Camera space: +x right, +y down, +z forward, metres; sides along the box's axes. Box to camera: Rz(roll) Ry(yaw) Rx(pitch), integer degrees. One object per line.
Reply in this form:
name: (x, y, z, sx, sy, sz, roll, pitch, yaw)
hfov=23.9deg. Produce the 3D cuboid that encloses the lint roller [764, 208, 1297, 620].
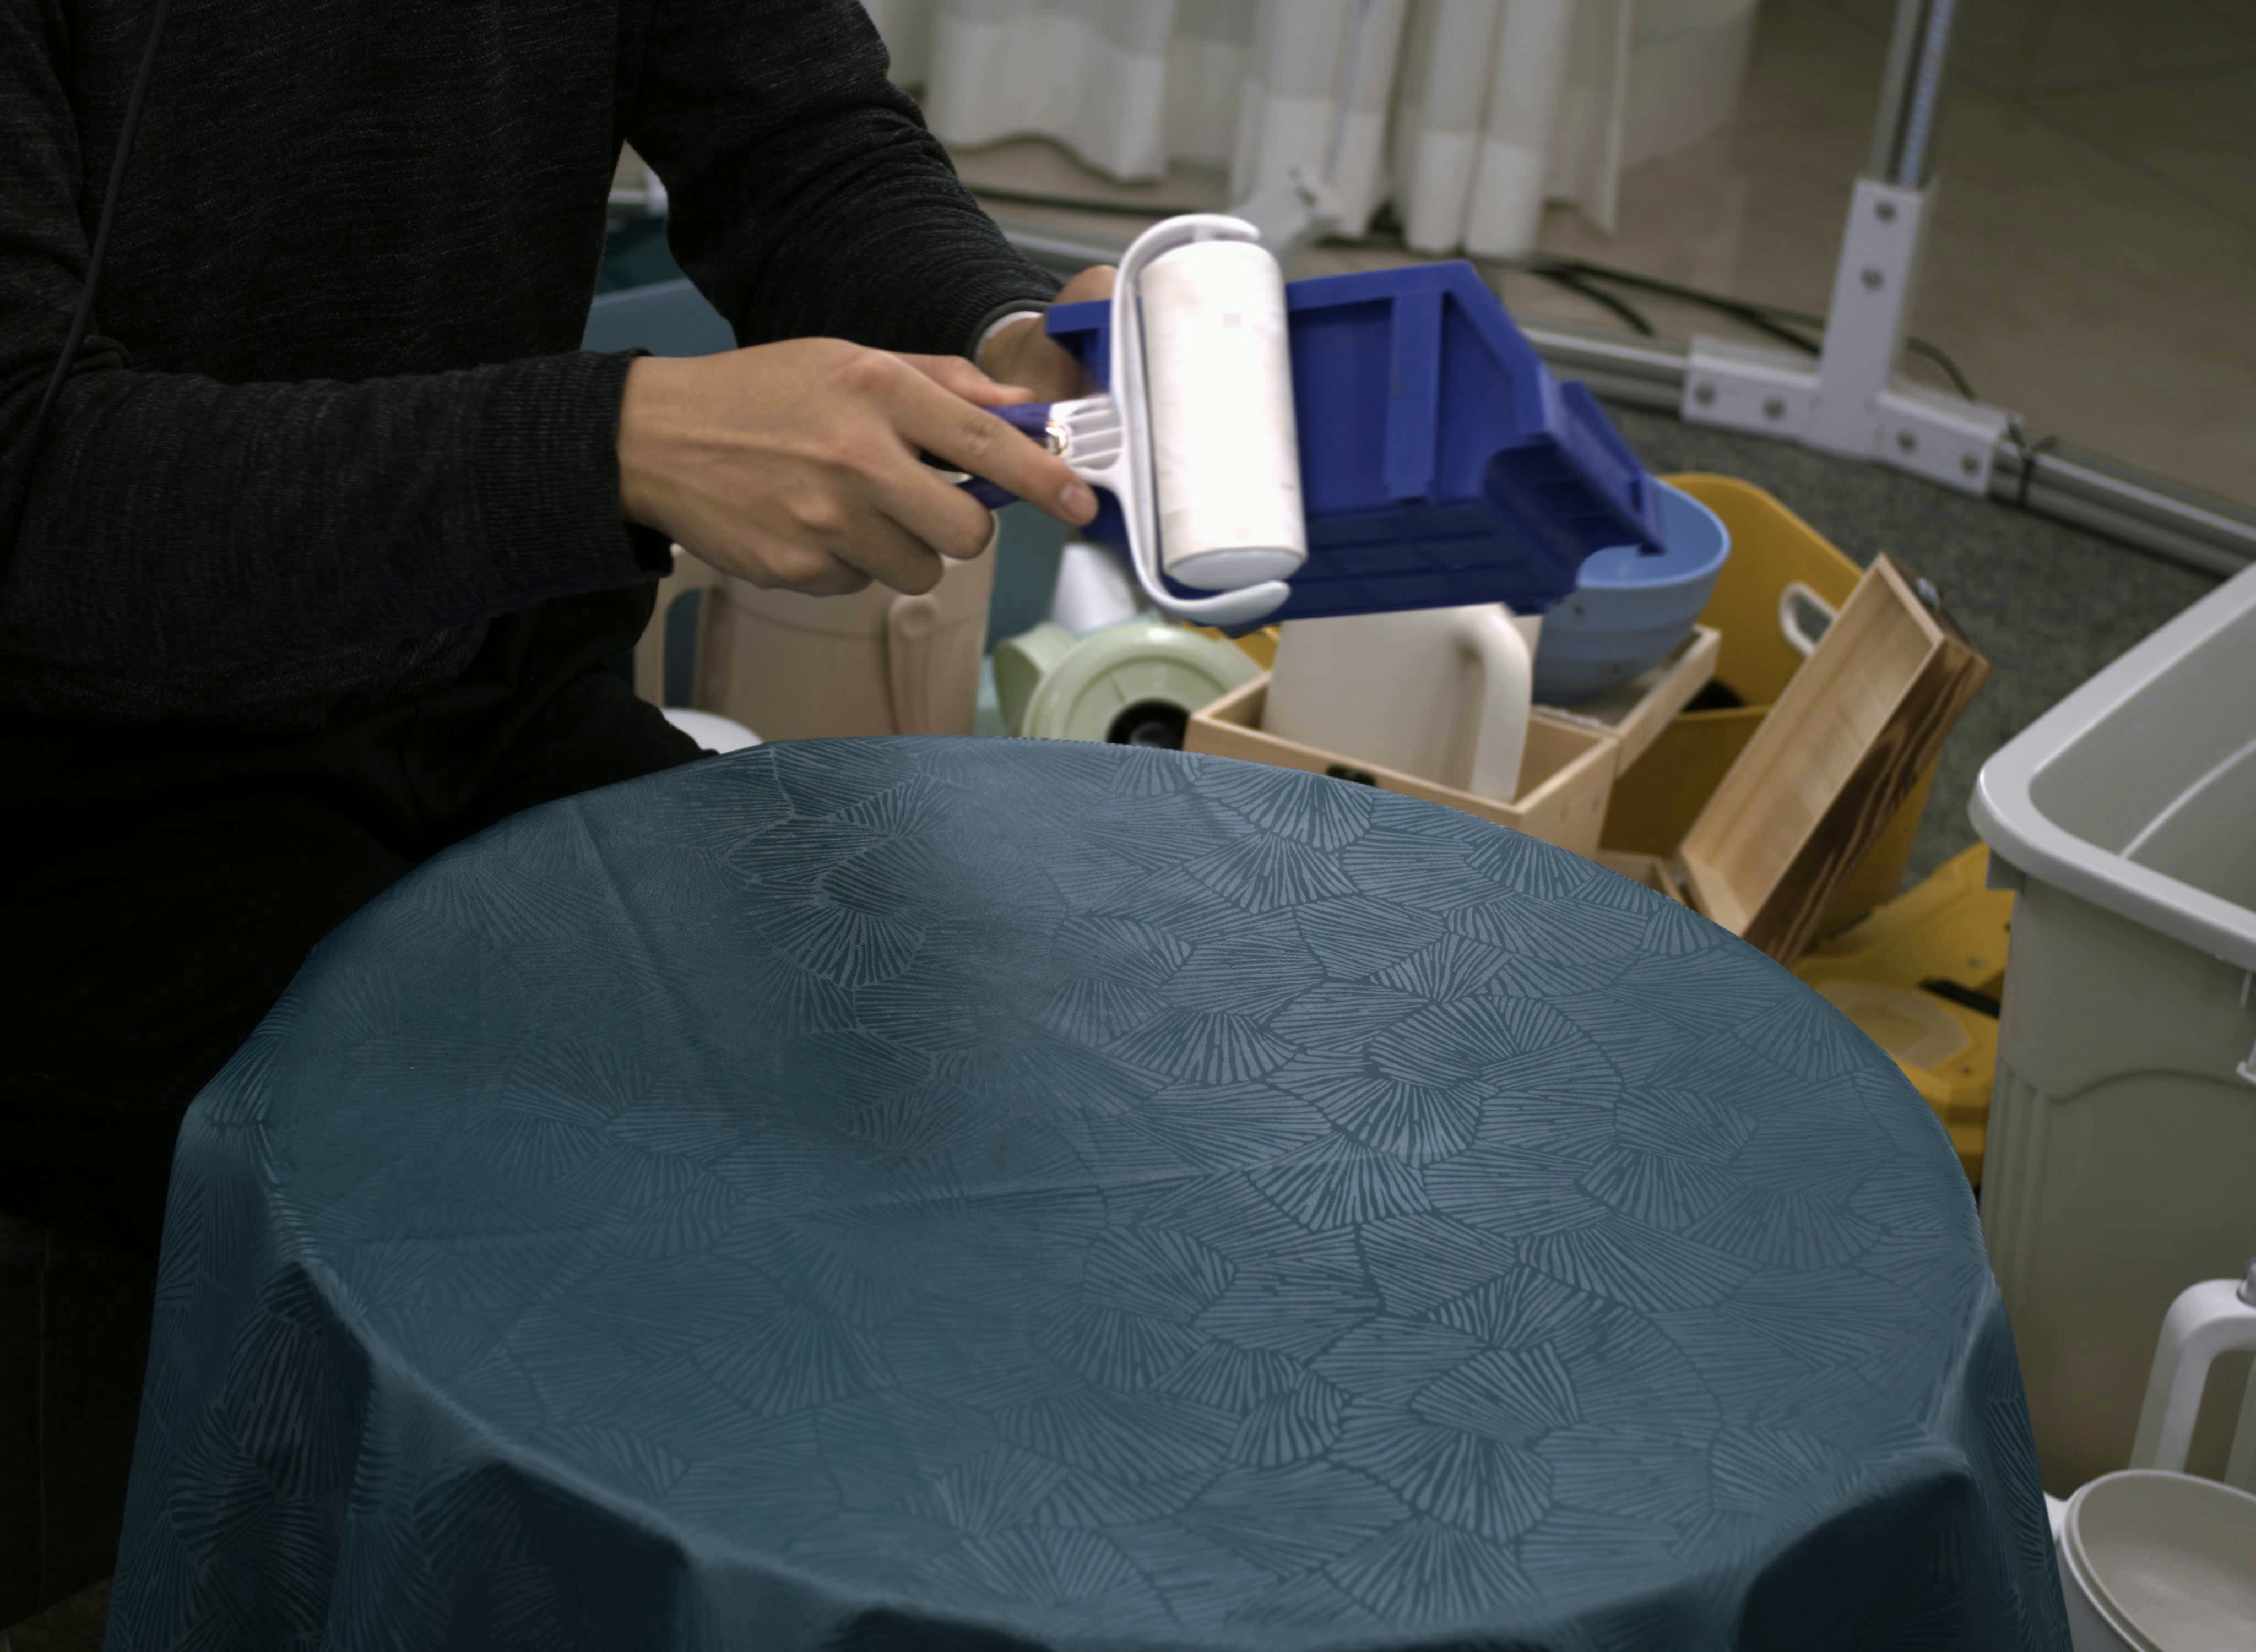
lint roller: (-0.037, -0.126, 1.725, 0.181, 0.133, 0.050, -6, -10, 12)

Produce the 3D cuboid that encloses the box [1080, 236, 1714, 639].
box: (0.090, -0.127, 1.767, 0.180, 0.082, 0.123, -8, -21, 24)
